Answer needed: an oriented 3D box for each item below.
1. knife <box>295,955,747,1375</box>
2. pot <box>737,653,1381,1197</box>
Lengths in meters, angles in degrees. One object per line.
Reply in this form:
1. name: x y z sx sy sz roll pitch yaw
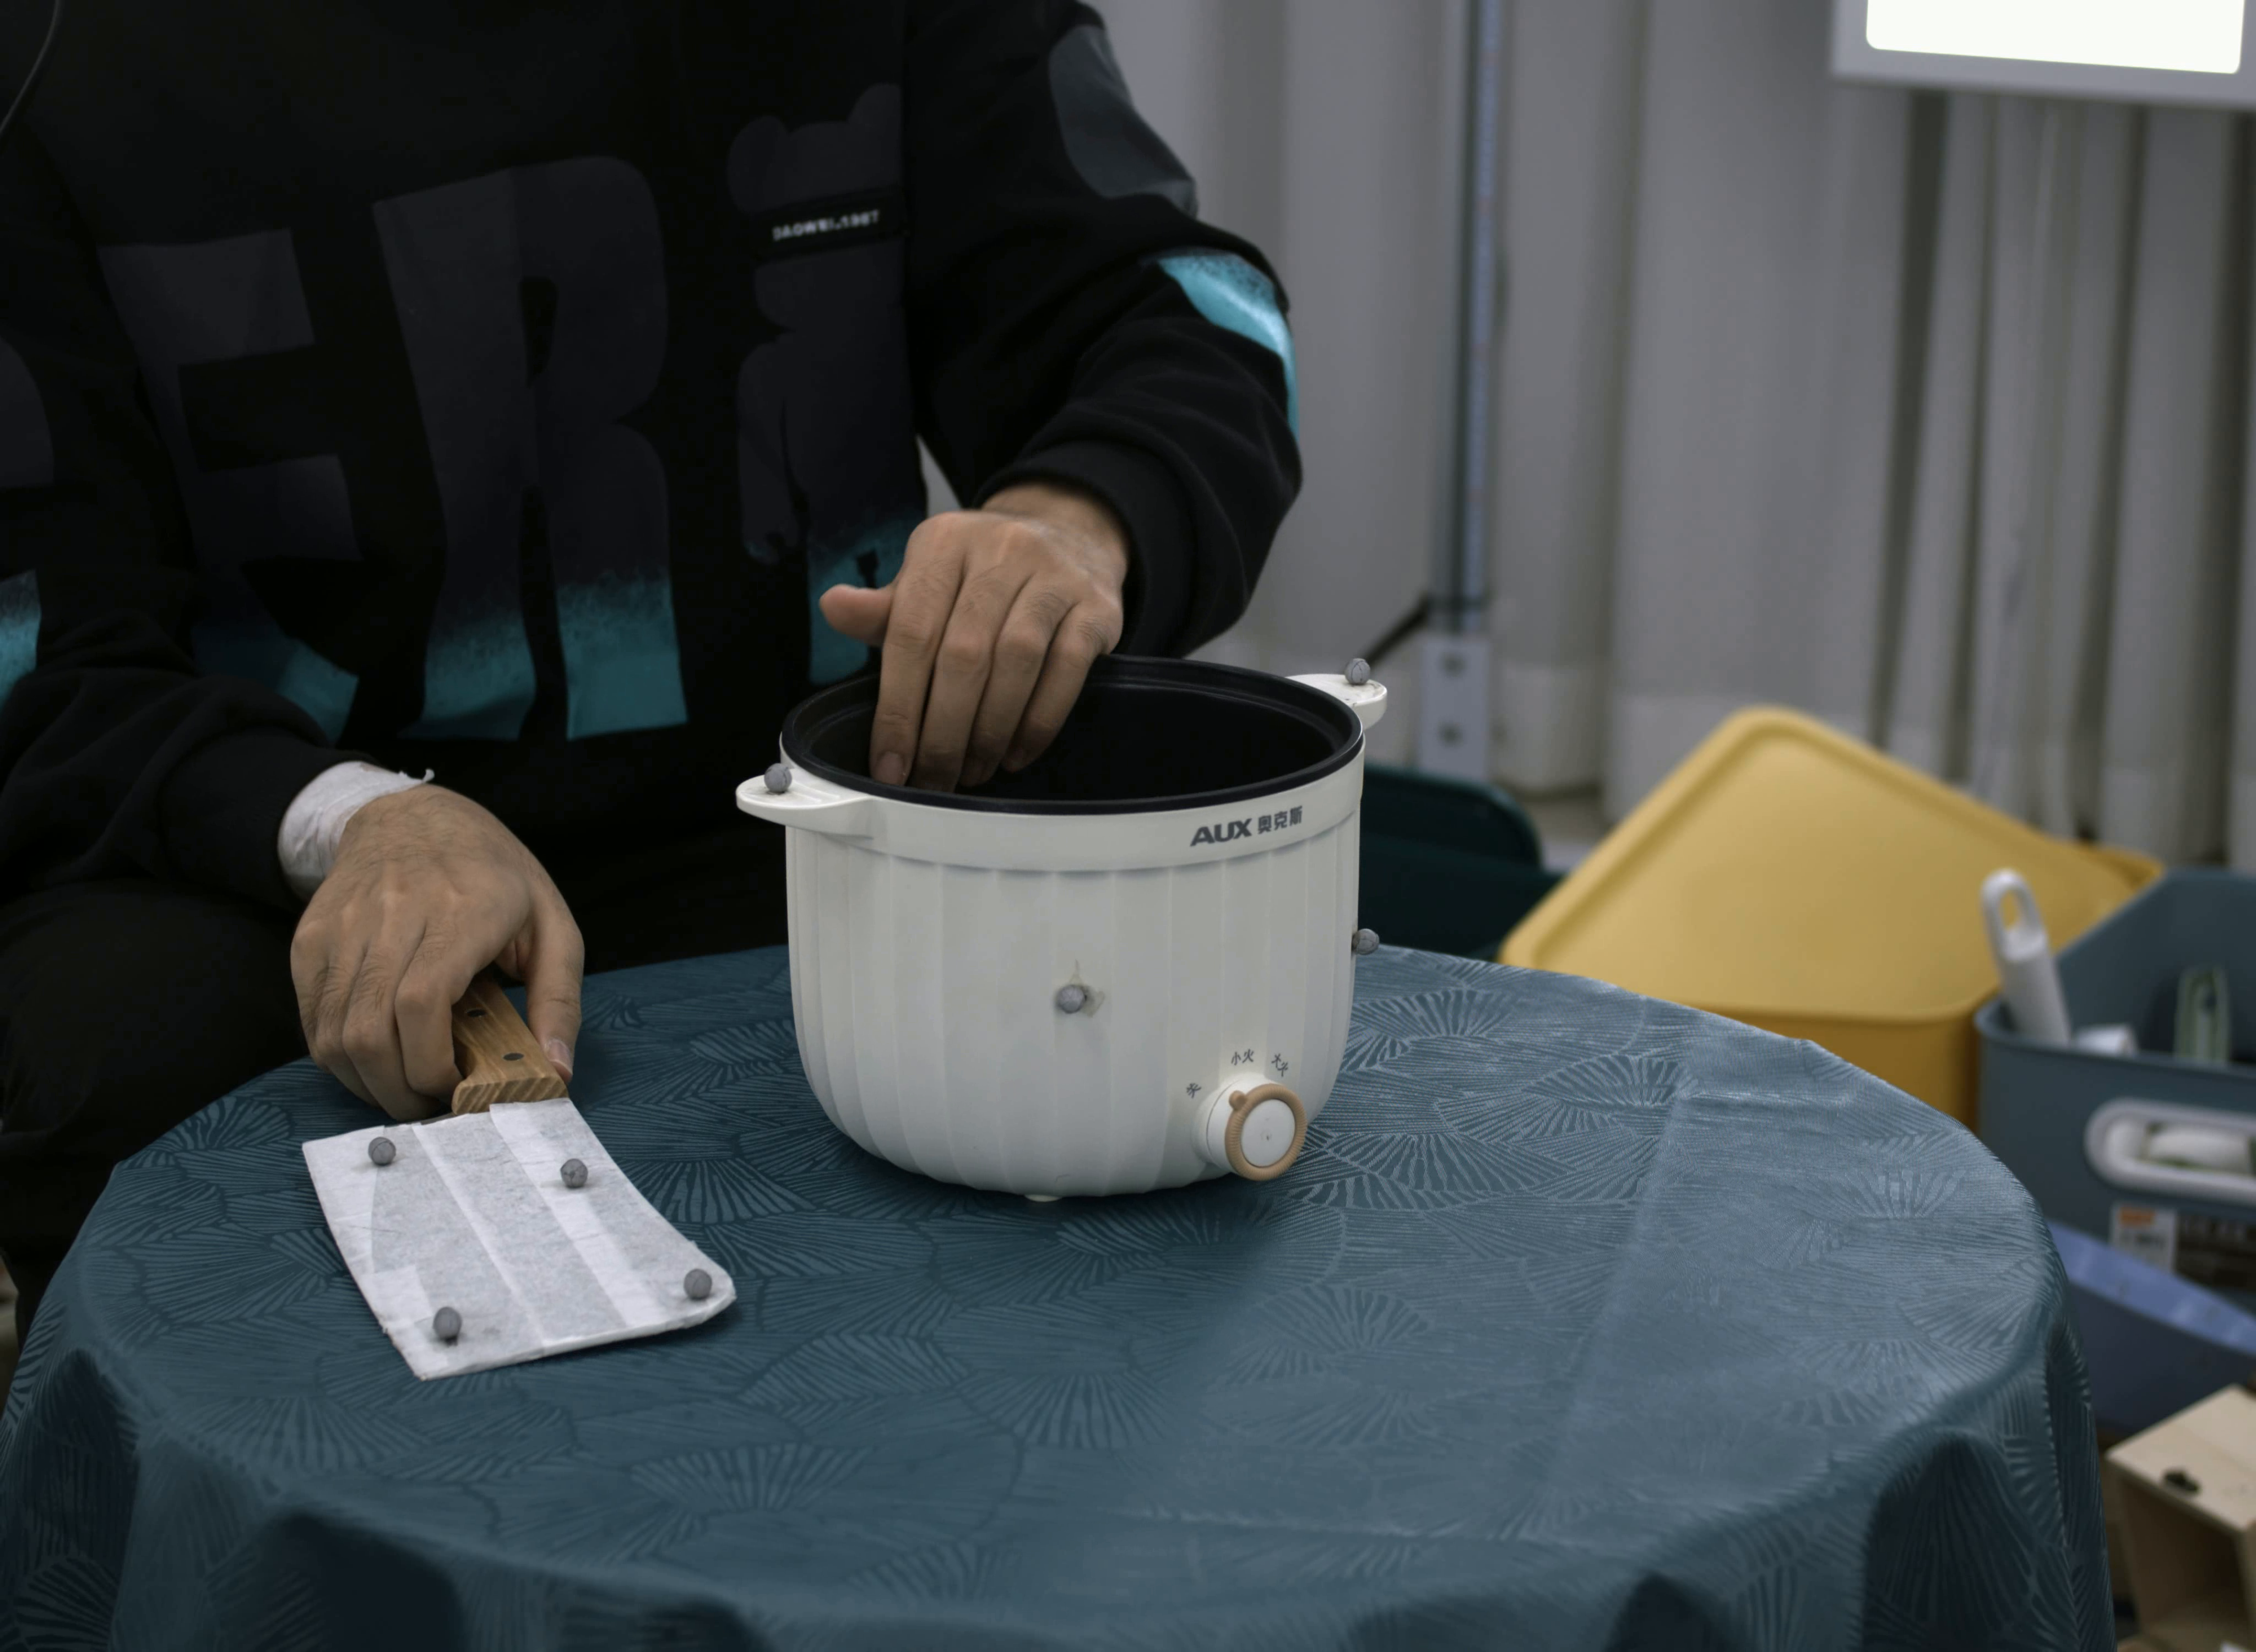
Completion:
1. knife: -0.197 0.100 1.618 0.114 0.022 0.312 -8 20 -14
2. pot: -0.013 0.032 1.648 0.241 0.144 0.188 -13 17 -36
